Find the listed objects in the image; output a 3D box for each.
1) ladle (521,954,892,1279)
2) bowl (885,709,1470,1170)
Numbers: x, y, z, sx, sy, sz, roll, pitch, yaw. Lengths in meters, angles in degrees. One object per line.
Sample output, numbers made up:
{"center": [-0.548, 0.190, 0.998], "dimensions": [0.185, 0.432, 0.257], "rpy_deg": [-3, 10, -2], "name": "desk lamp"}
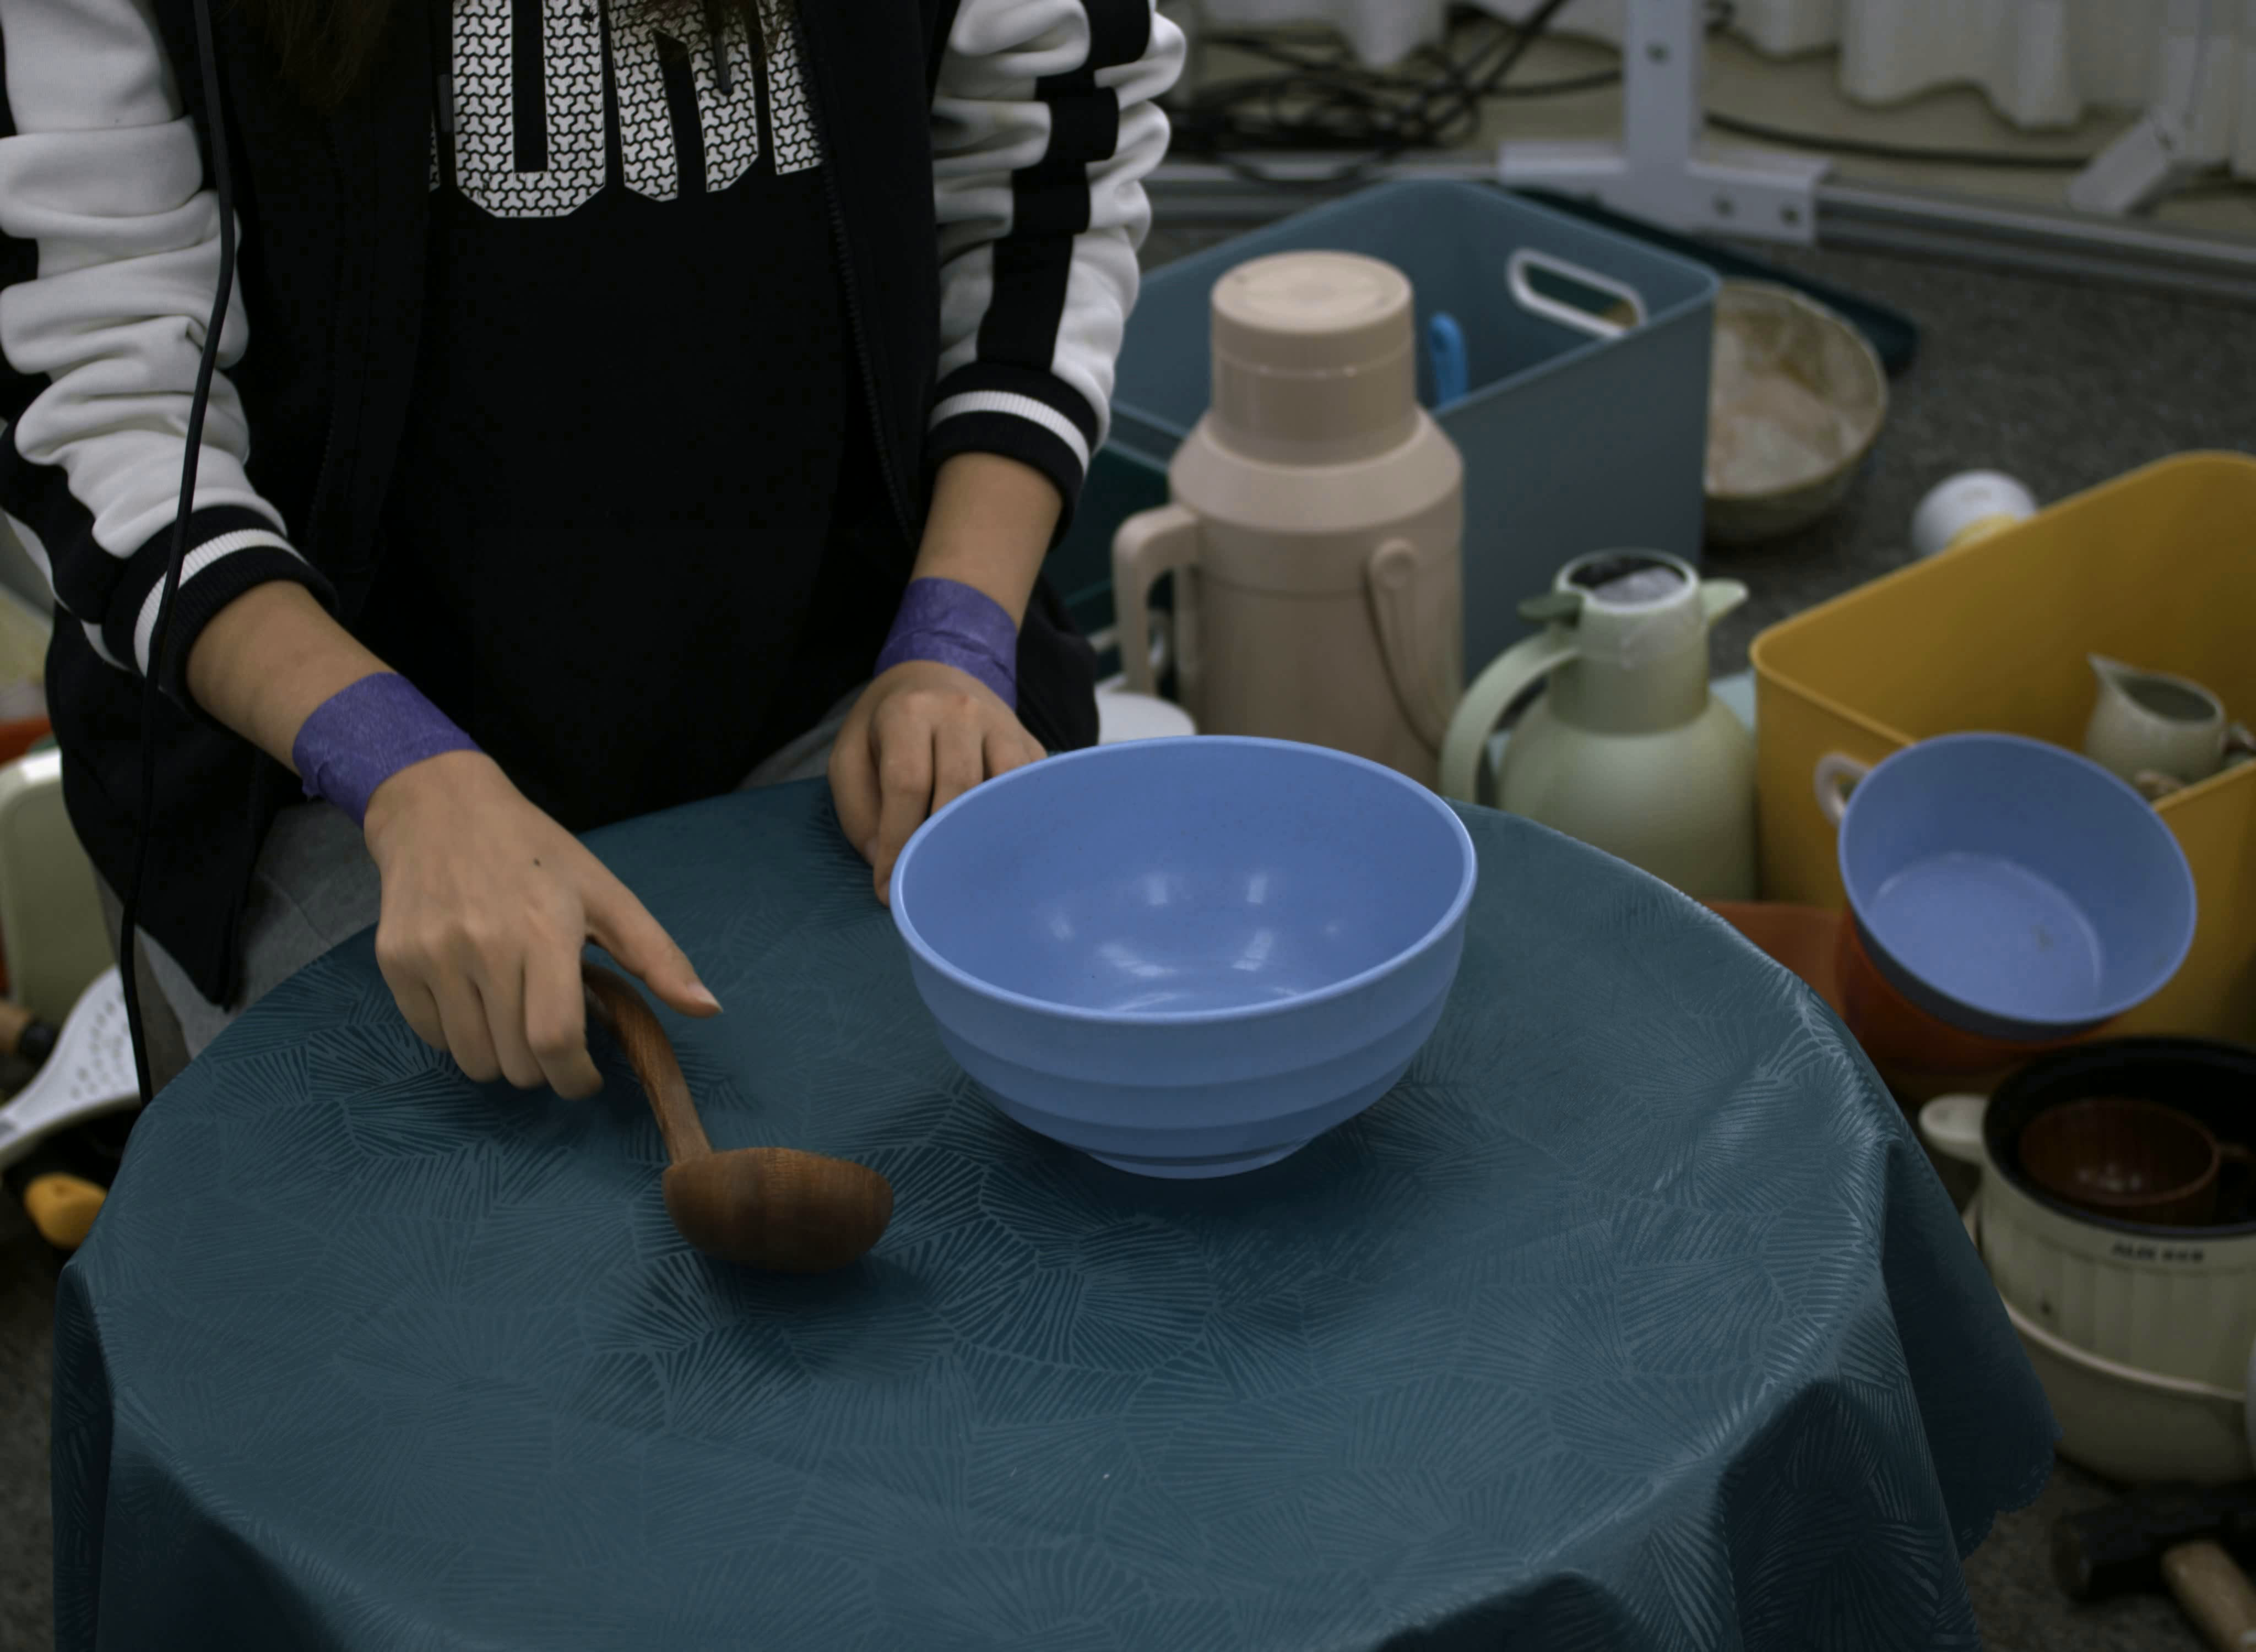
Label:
{"center": [-0.149, 0.083, 1.887], "dimensions": [0.076, 0.065, 0.262], "rpy_deg": [22, 14, -30], "name": "ladle"}
{"center": [0.021, 0.051, 1.894], "dimensions": [0.195, 0.094, 0.200], "rpy_deg": [-5, 32, 3], "name": "bowl"}
